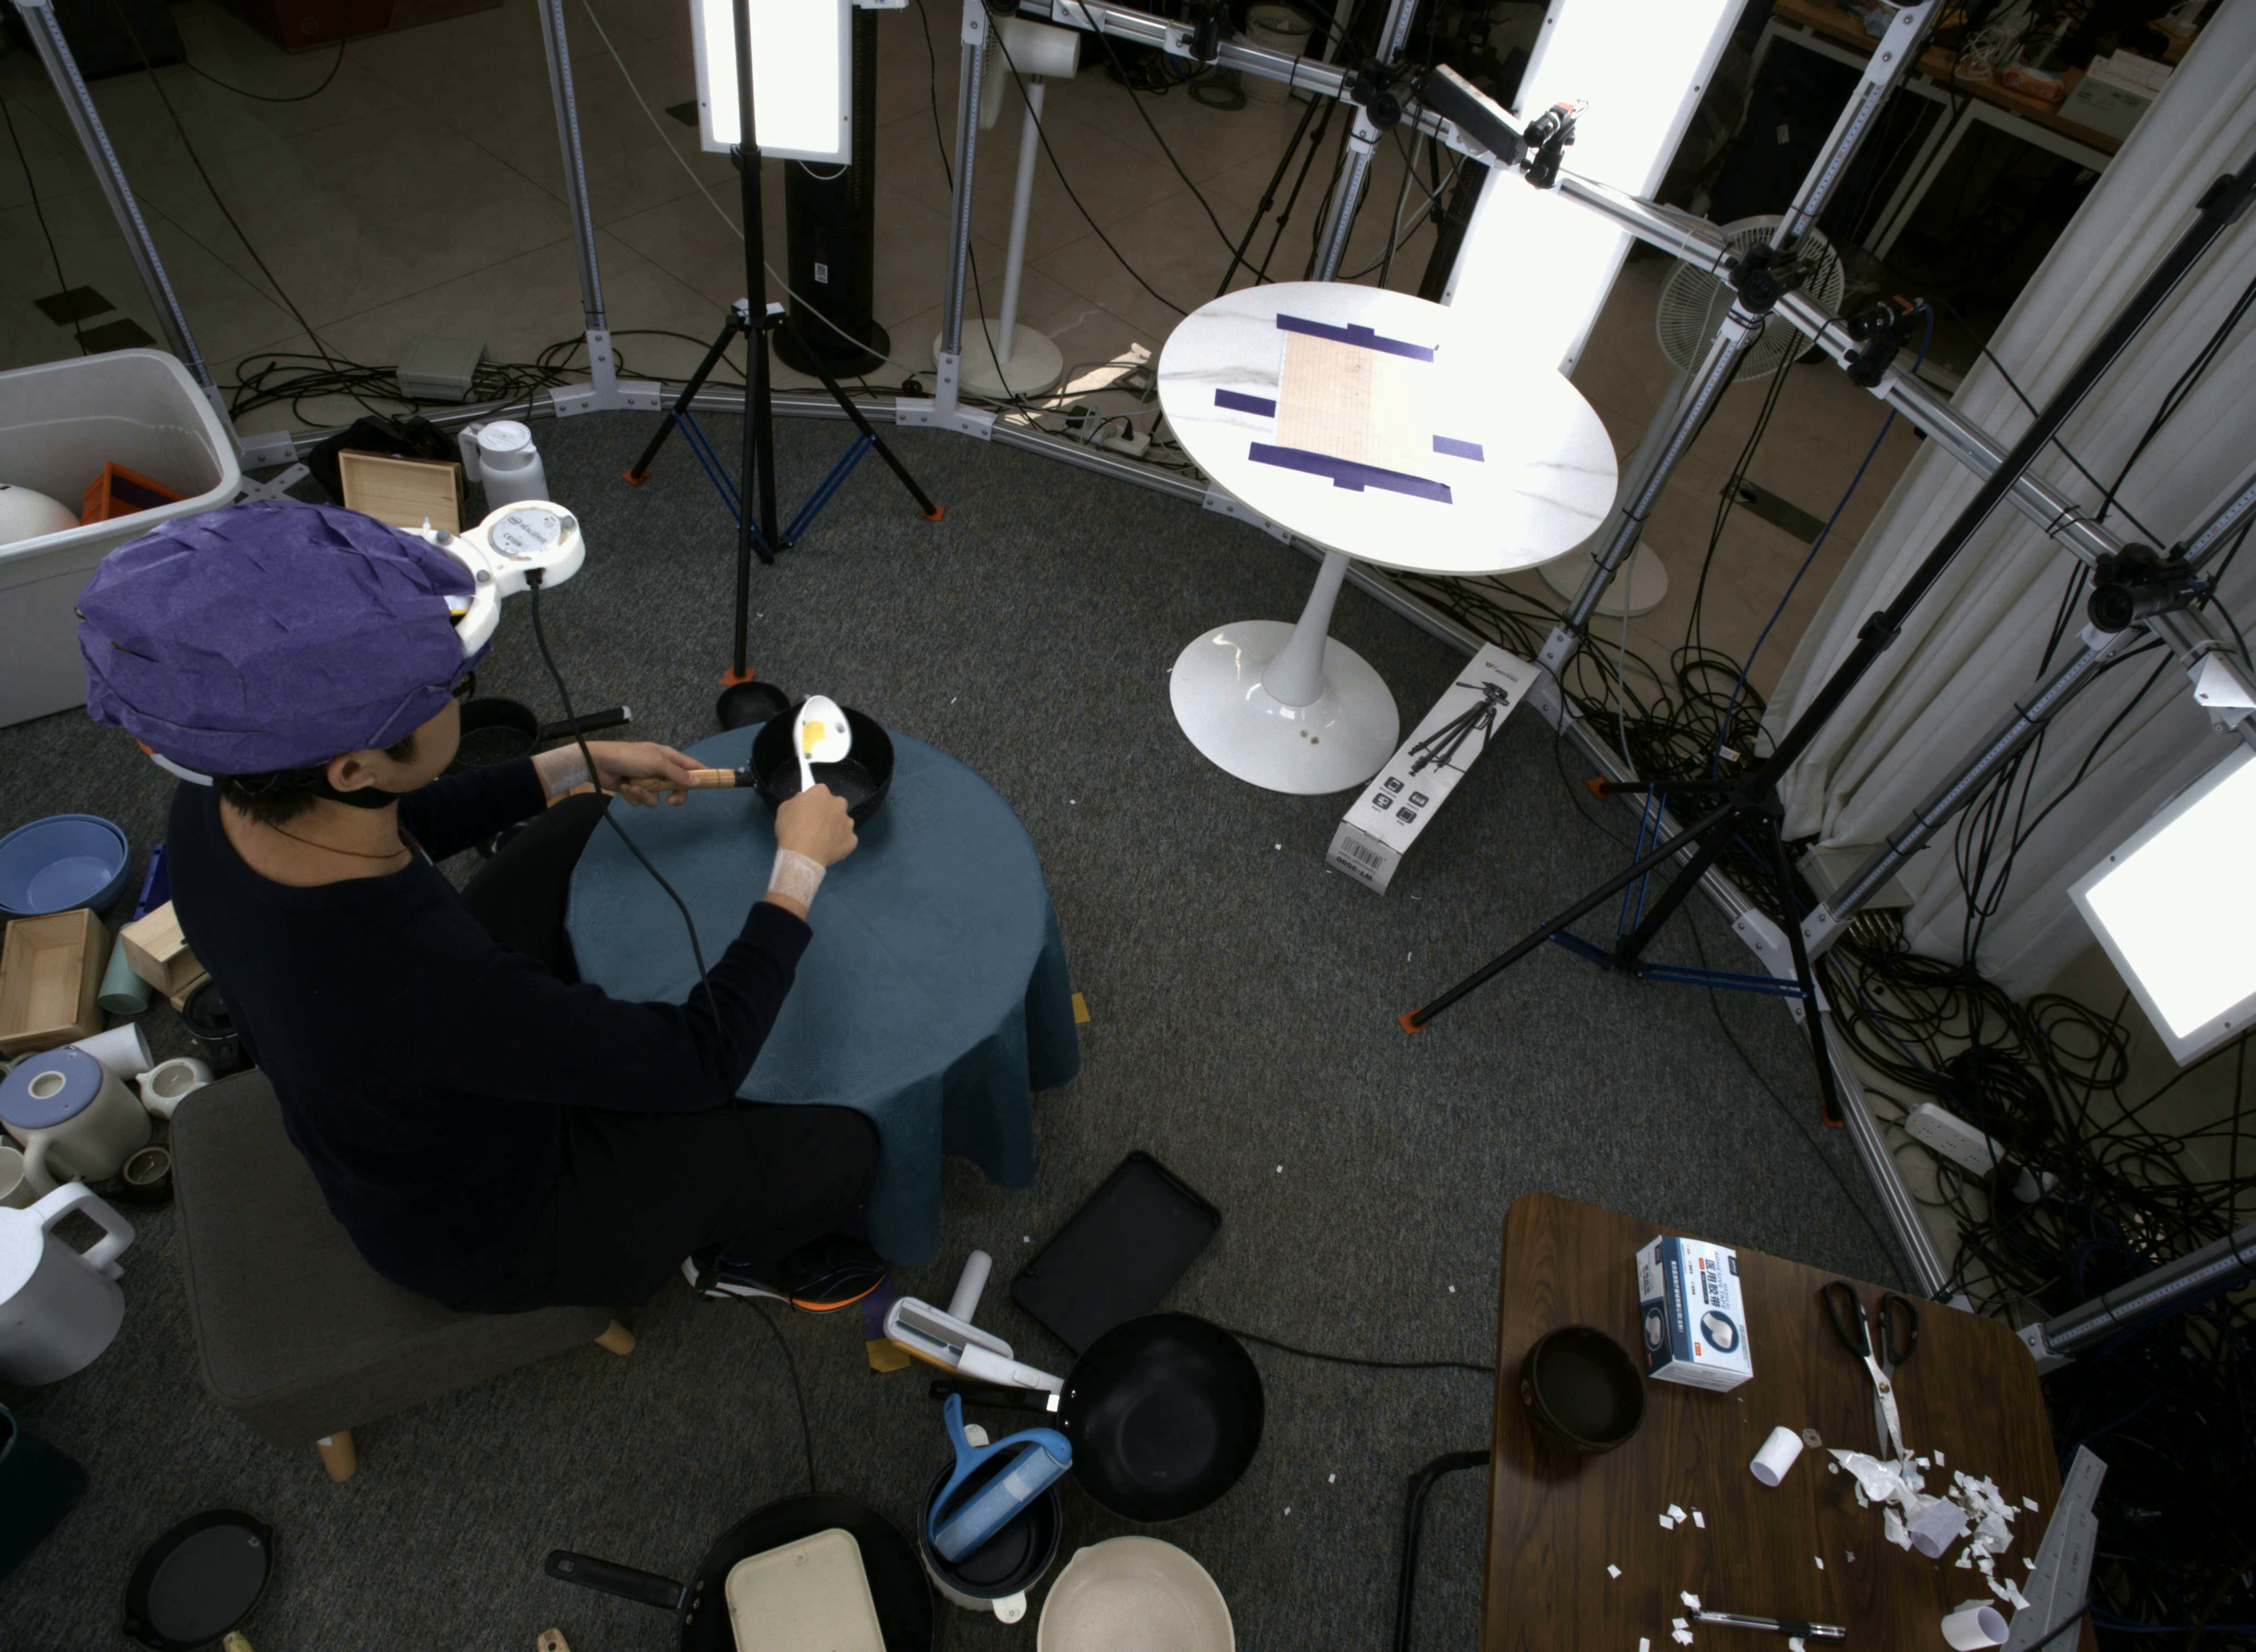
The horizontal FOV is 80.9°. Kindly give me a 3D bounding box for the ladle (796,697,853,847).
[{"bbox_3d":[-0.363,-0.064,1.553,0.069,0.093,0.284,-23,30,-1],"label":"ladle"}]

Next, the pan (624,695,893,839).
[{"bbox_3d":[-0.475,-0.060,1.672,0.345,0.110,0.202,-13,59,-26],"label":"pan"}]
